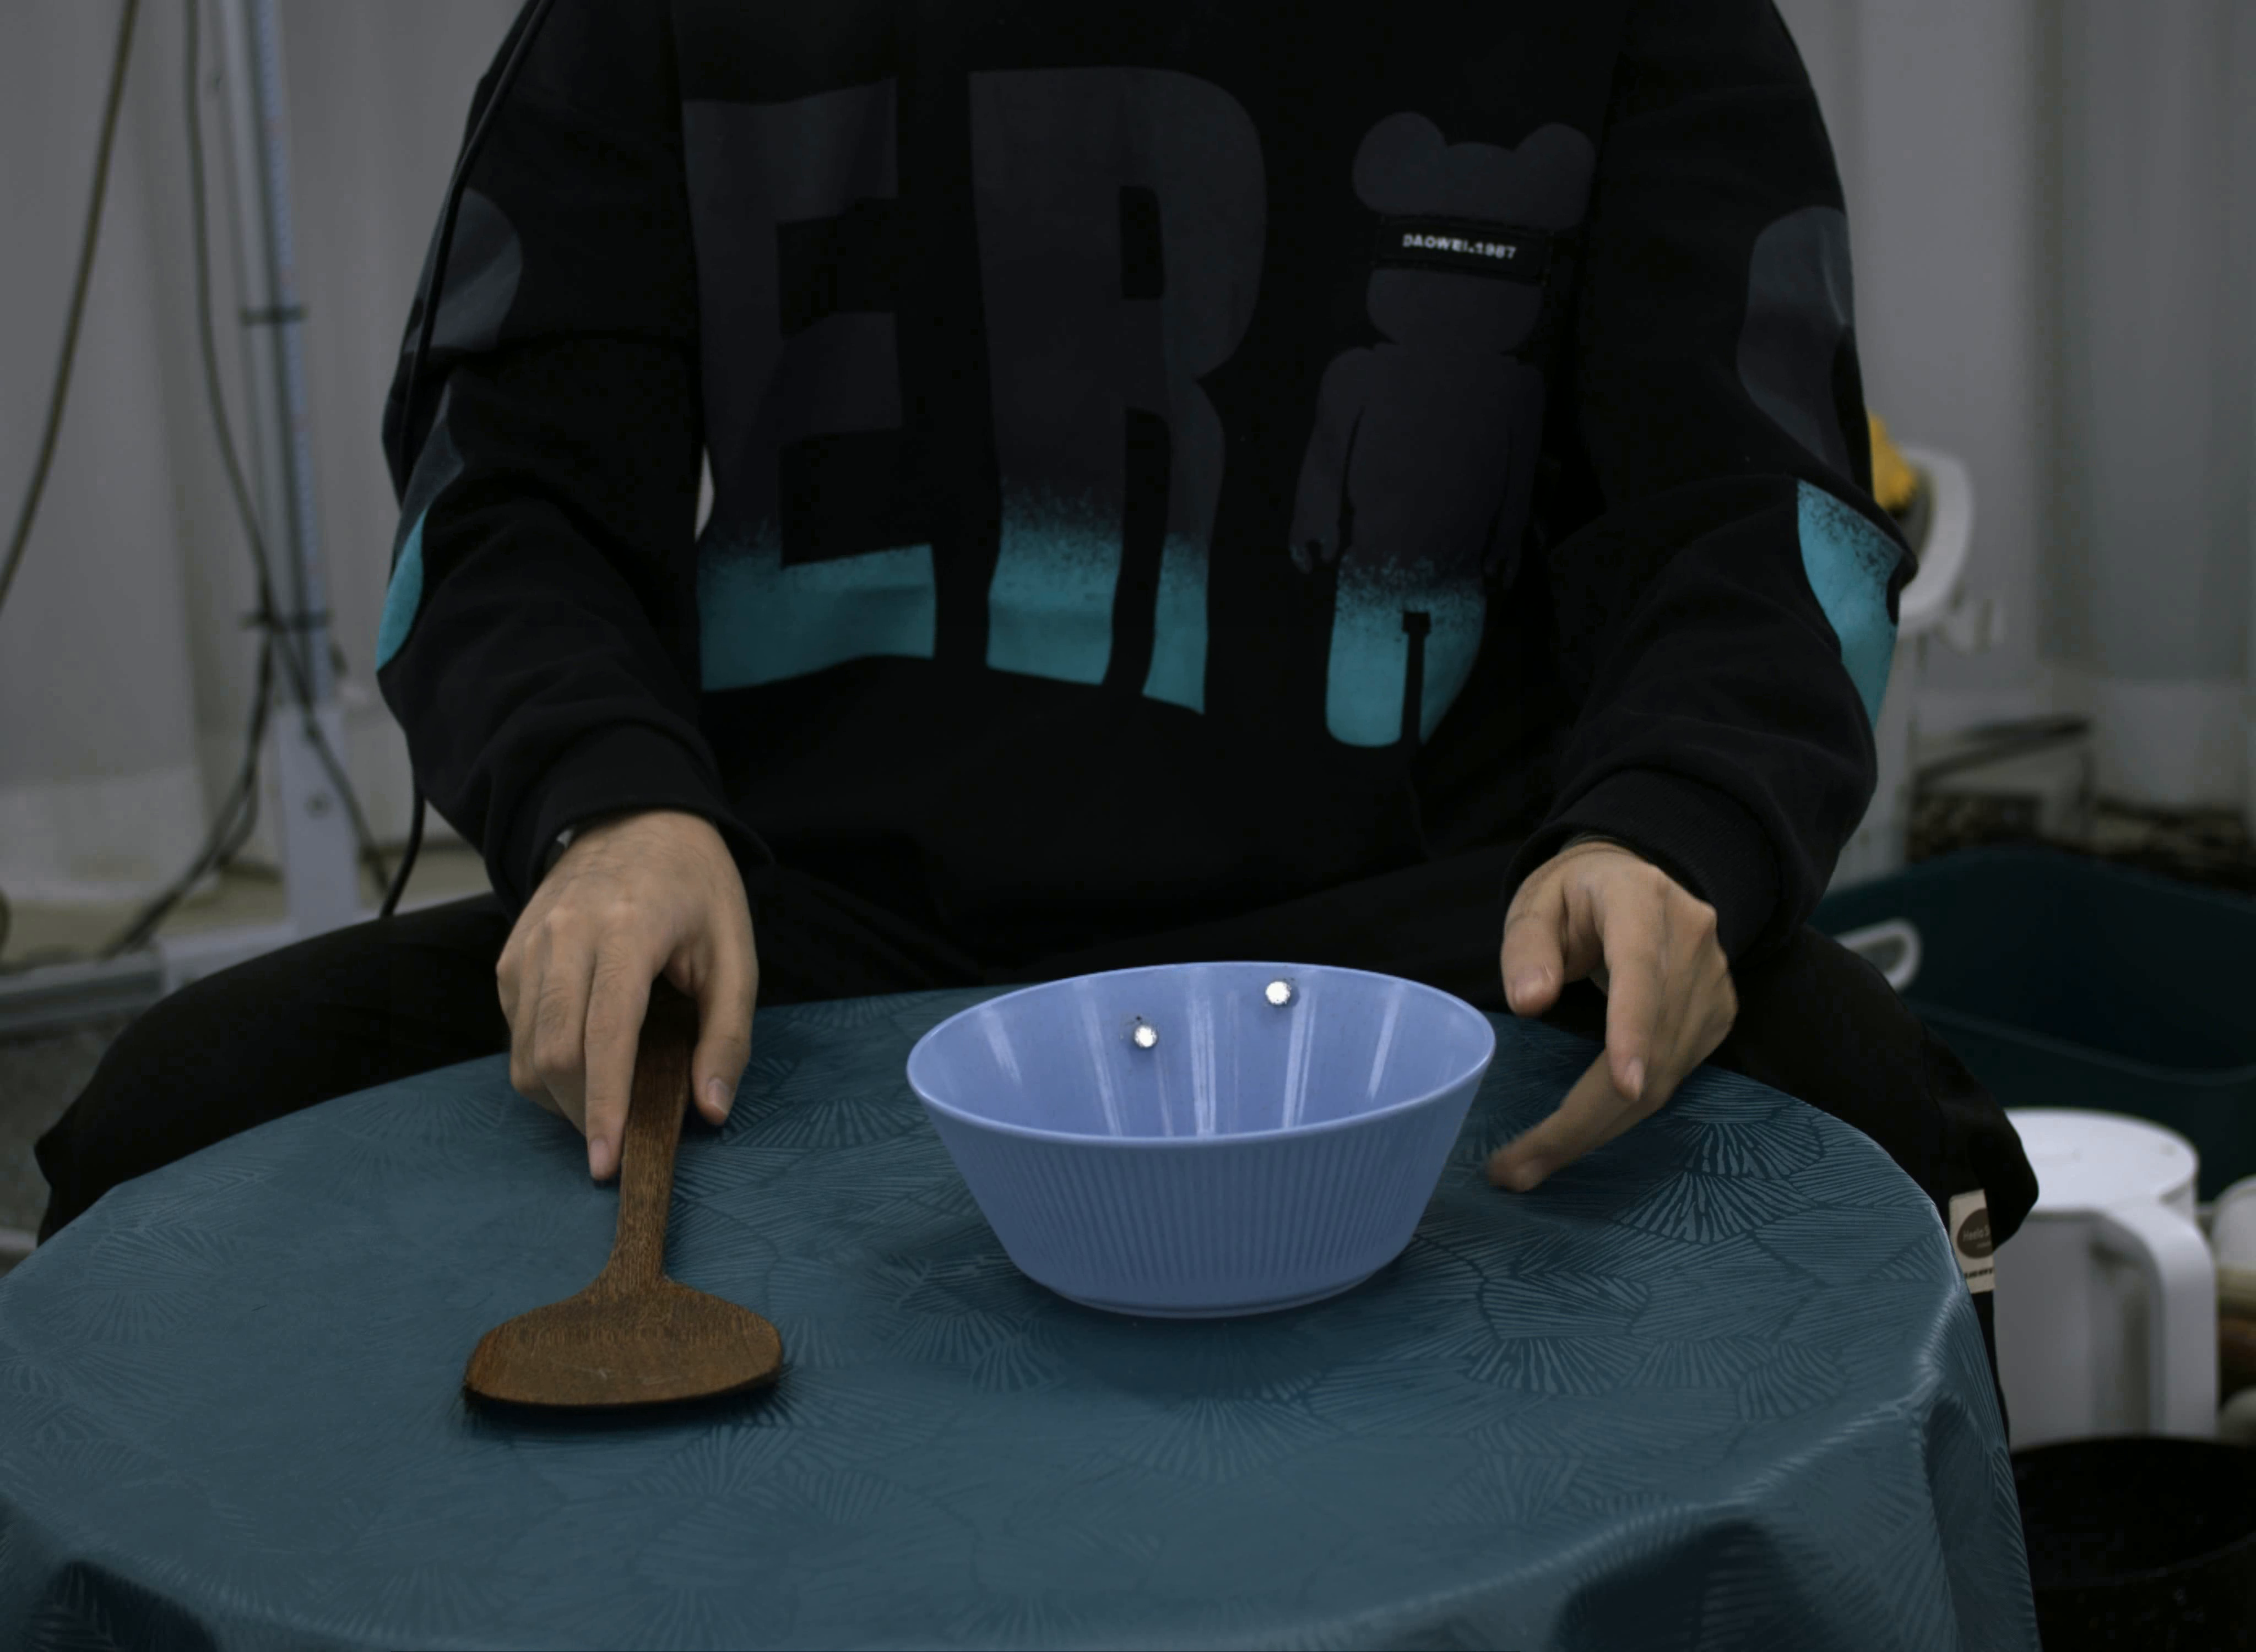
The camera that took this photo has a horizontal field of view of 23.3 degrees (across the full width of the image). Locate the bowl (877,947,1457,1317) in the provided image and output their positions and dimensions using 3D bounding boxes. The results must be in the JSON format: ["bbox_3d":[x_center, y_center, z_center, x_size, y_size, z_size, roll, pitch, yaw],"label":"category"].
[{"bbox_3d":[0.013,0.095,1.645,0.175,0.070,0.177,-4,18,1],"label":"bowl"}]

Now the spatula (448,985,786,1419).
[{"bbox_3d":[-0.151,0.111,1.716,0.096,0.016,0.389,-3,17,-1],"label":"spatula"}]
